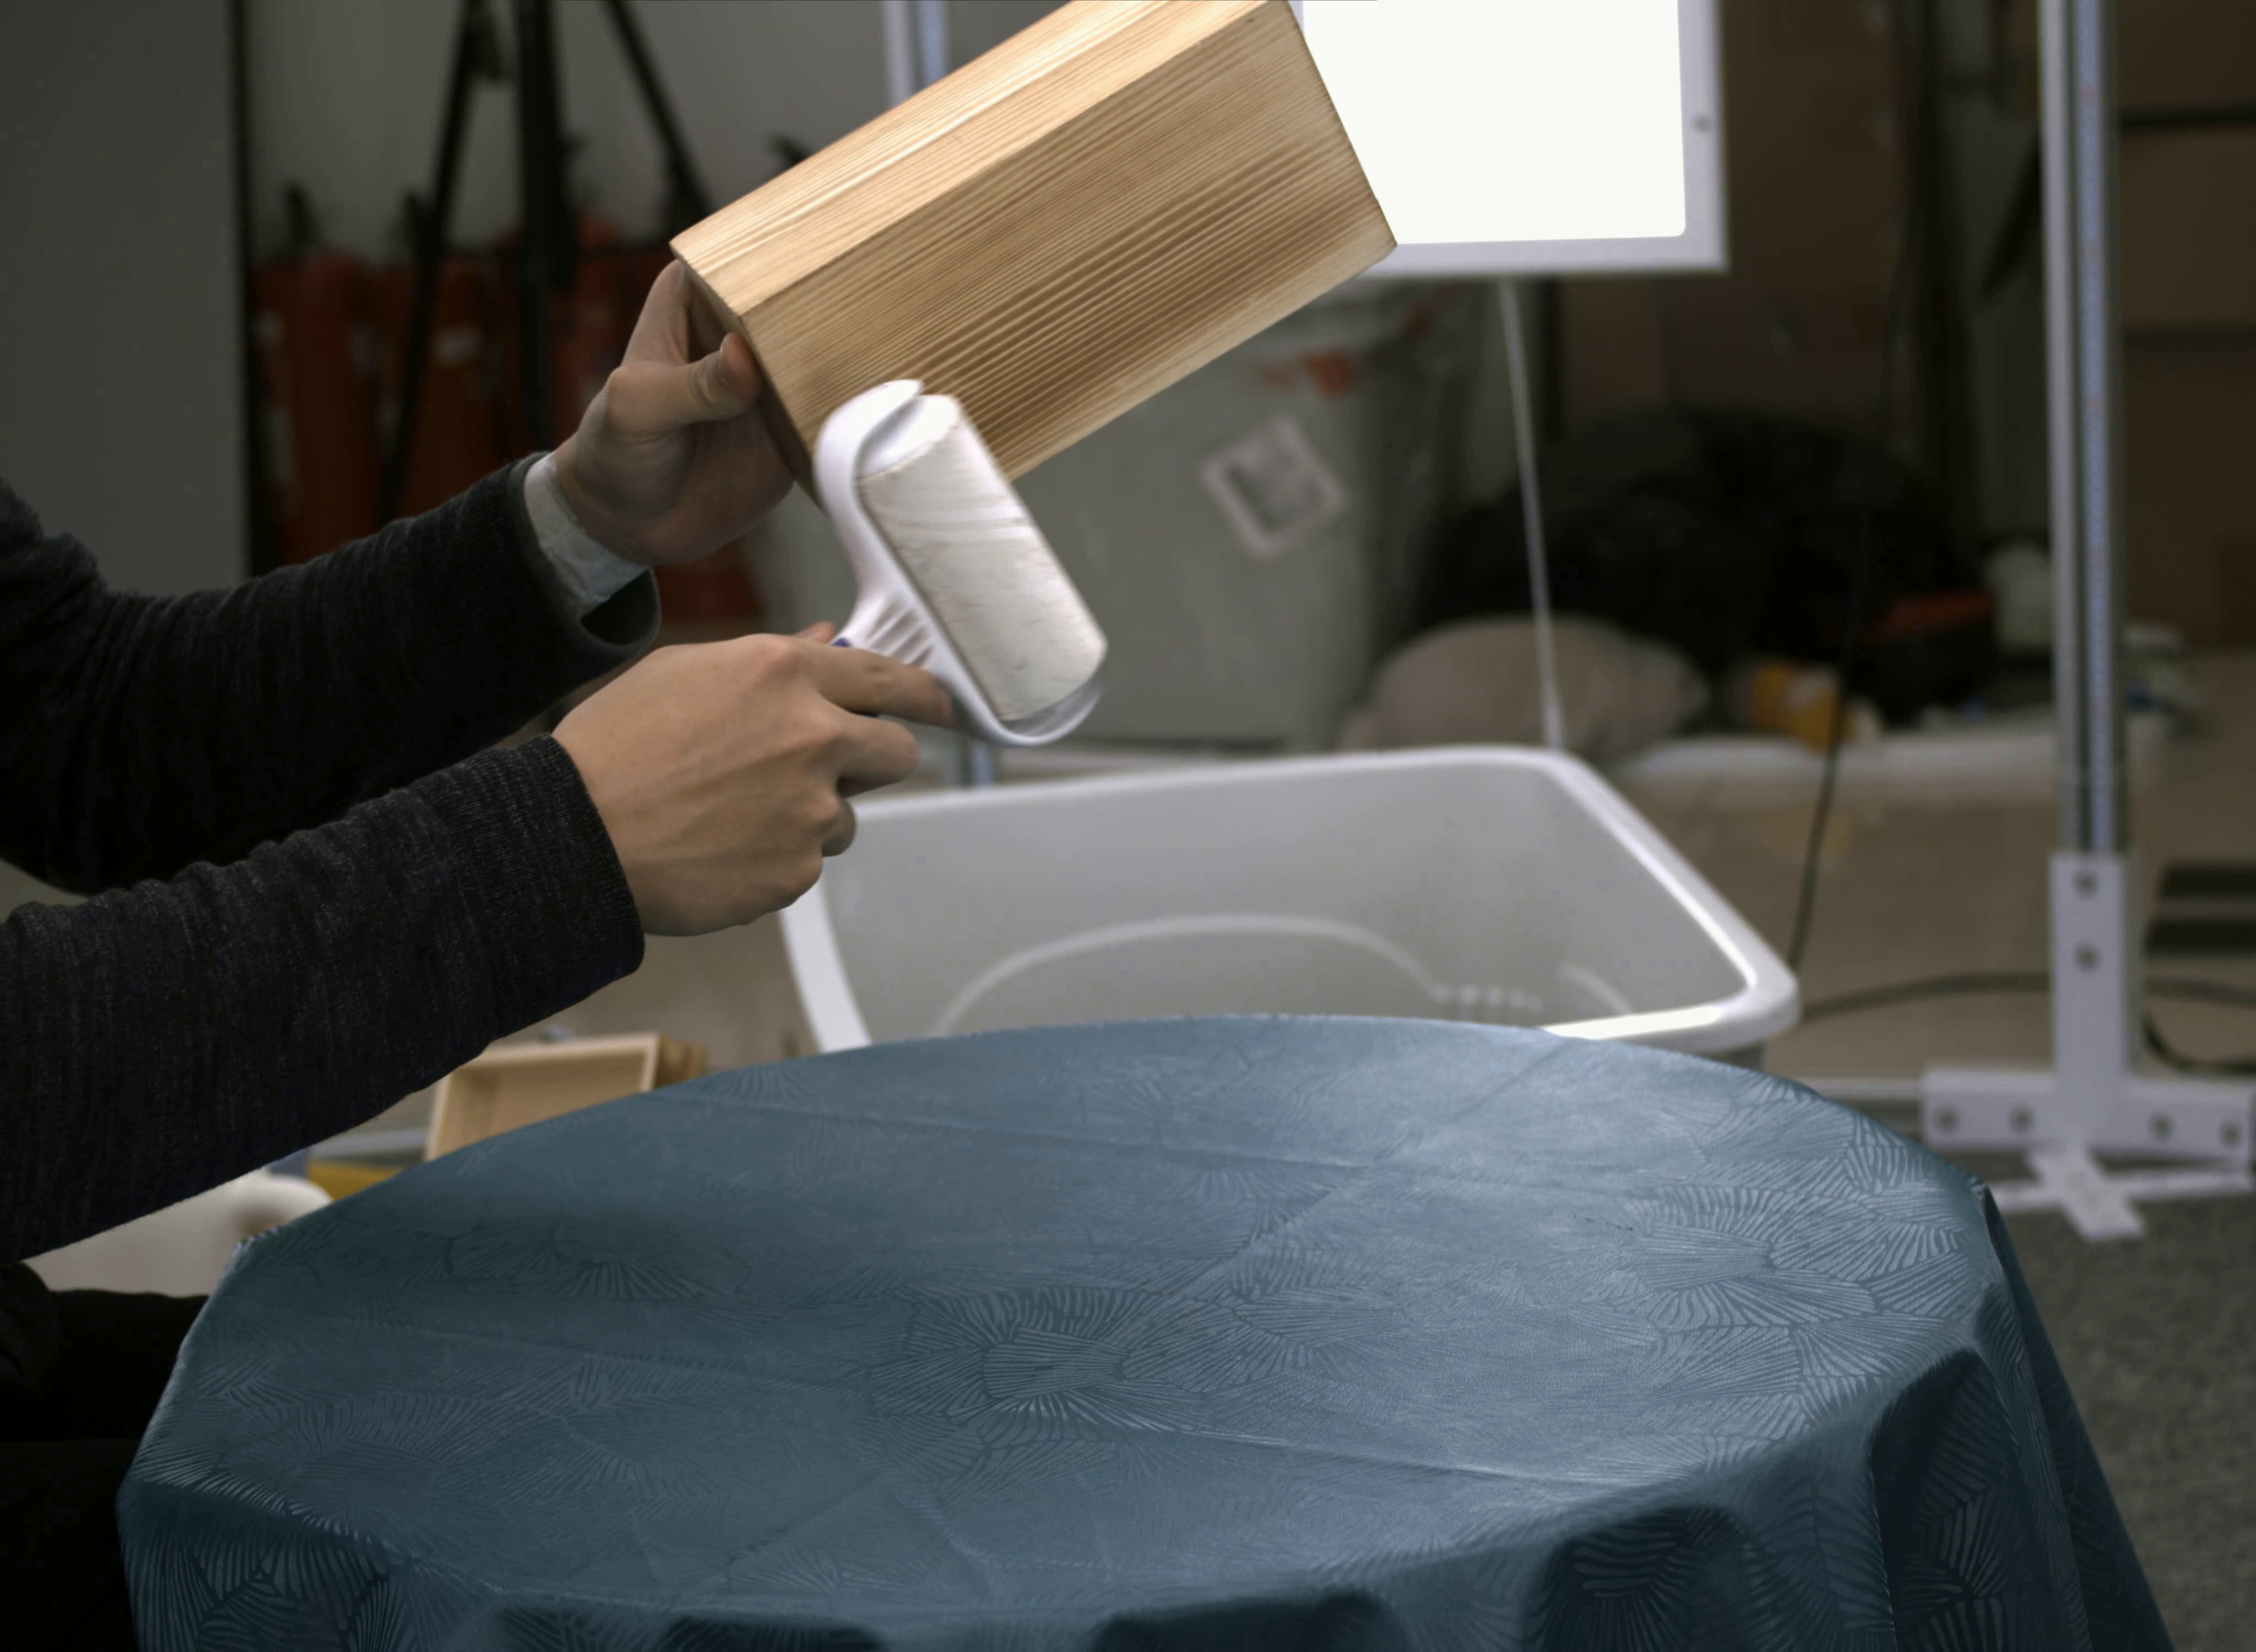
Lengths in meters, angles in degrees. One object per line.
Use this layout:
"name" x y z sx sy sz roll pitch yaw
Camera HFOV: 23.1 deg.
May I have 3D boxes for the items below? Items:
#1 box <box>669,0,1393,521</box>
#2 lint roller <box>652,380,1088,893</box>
"box" -0.031 -0.196 1.844 0.210 0.107 0.081 -31 31 -6
"lint roller" -0.089 -0.045 1.744 0.051 0.132 0.178 -6 35 43
